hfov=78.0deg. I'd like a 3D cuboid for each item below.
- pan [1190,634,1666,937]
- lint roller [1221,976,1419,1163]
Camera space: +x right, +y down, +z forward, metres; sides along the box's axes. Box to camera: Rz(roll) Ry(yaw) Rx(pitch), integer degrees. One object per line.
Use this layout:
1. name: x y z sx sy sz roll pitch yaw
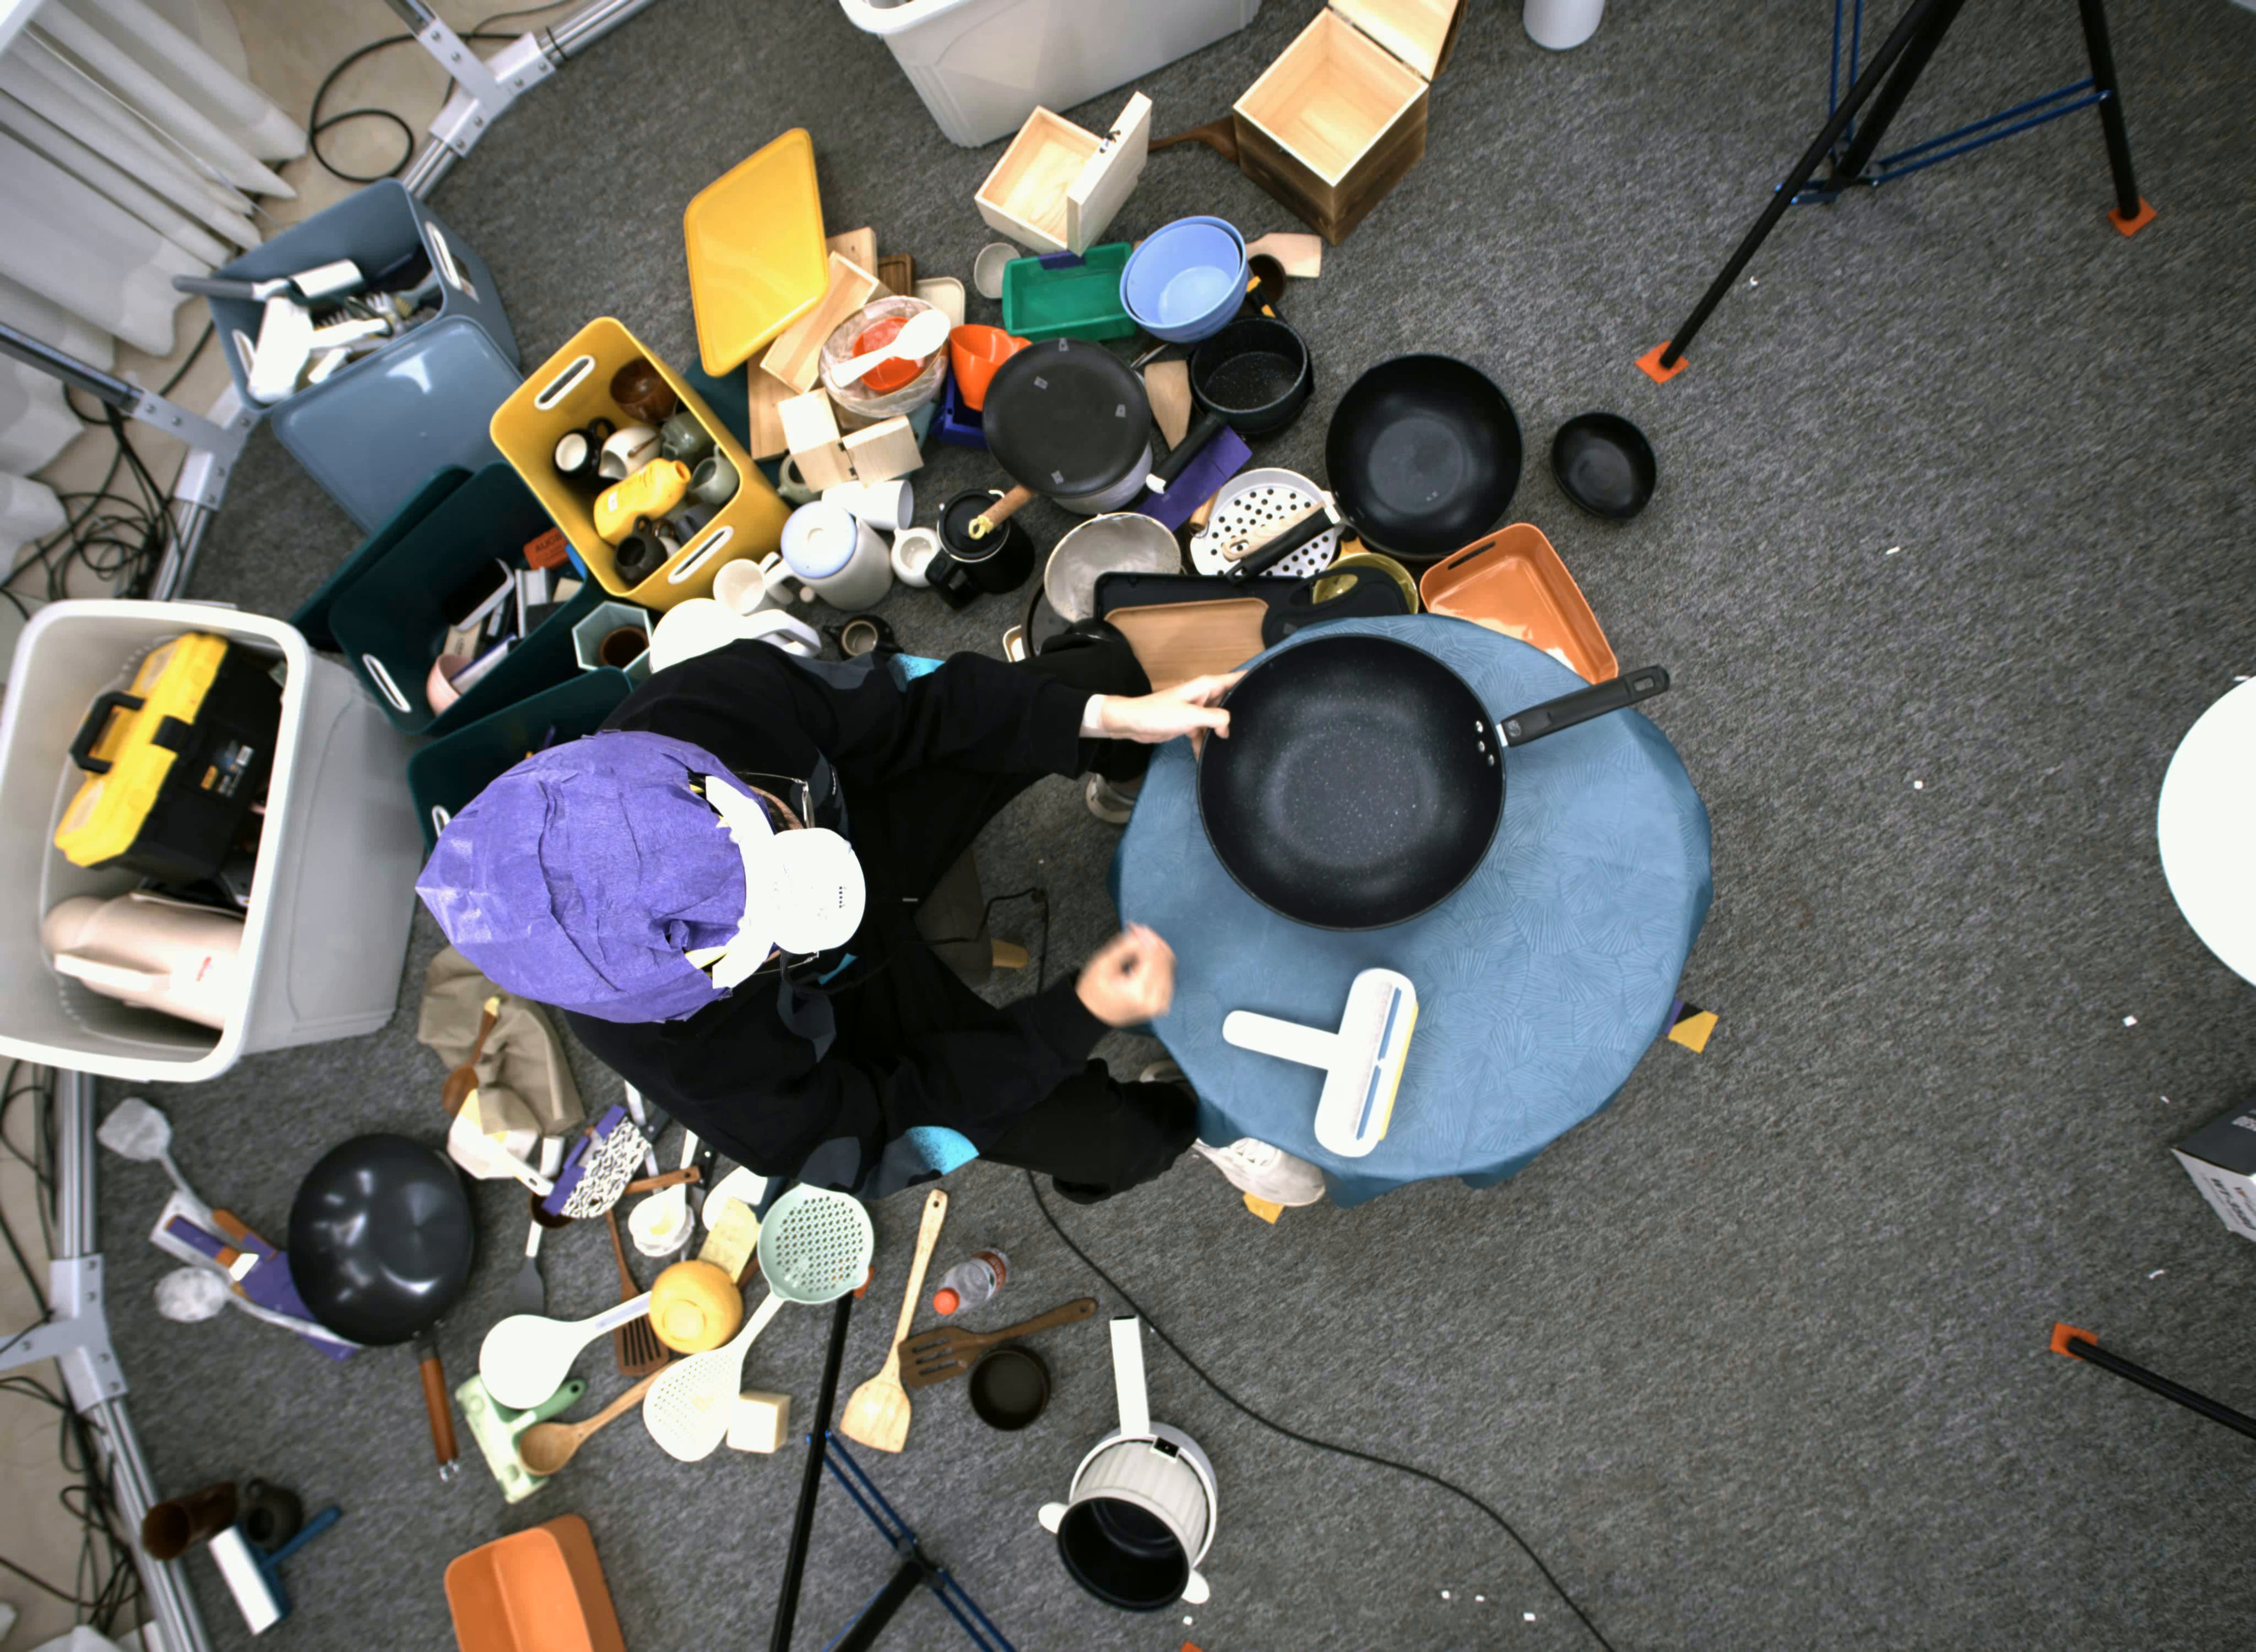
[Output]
1. pan: 0.300 -0.066 1.398 0.479 0.112 0.308 -18 82 8
2. lint roller: 0.186 0.229 1.428 0.192 0.074 0.192 18 85 12
